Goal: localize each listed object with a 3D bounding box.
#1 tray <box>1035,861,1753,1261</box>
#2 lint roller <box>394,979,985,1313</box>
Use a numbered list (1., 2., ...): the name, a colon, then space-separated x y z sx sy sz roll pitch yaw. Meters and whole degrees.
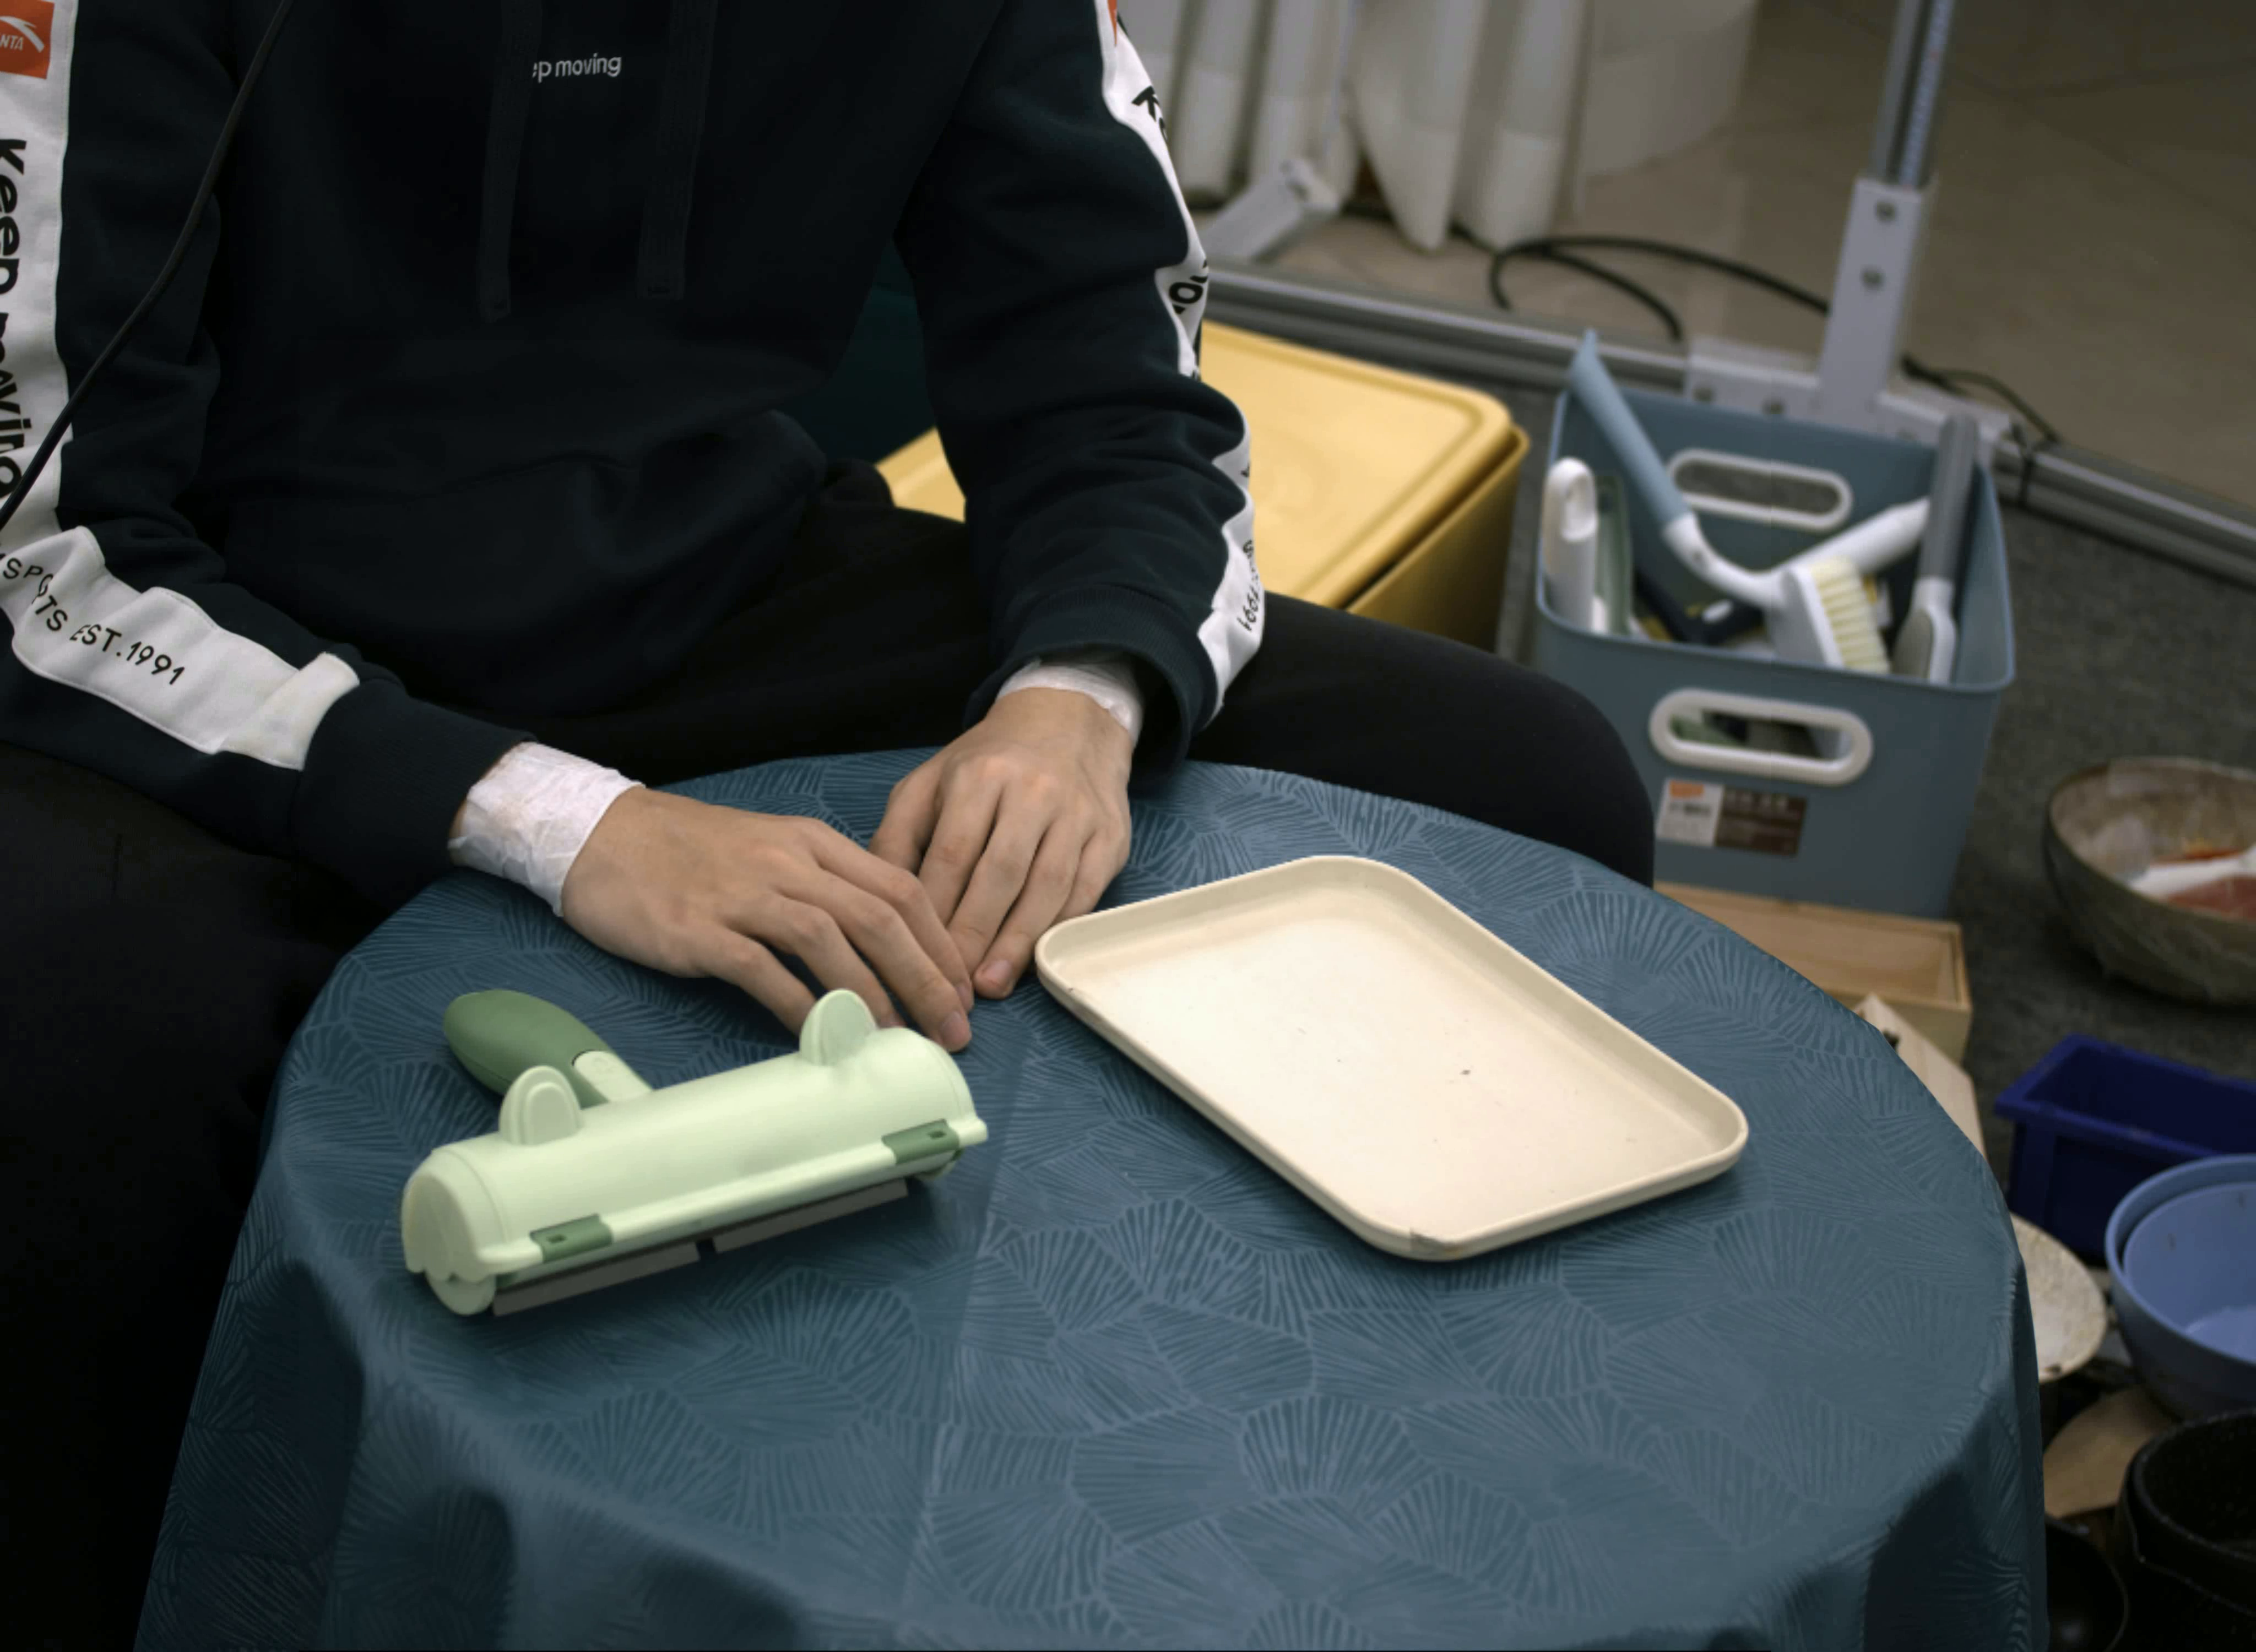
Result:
1. tray: 0.091 0.081 1.883 0.170 0.017 0.242 -13 33 -35
2. lint roller: -0.174 0.078 1.765 0.197 0.082 0.185 -14 37 -34
